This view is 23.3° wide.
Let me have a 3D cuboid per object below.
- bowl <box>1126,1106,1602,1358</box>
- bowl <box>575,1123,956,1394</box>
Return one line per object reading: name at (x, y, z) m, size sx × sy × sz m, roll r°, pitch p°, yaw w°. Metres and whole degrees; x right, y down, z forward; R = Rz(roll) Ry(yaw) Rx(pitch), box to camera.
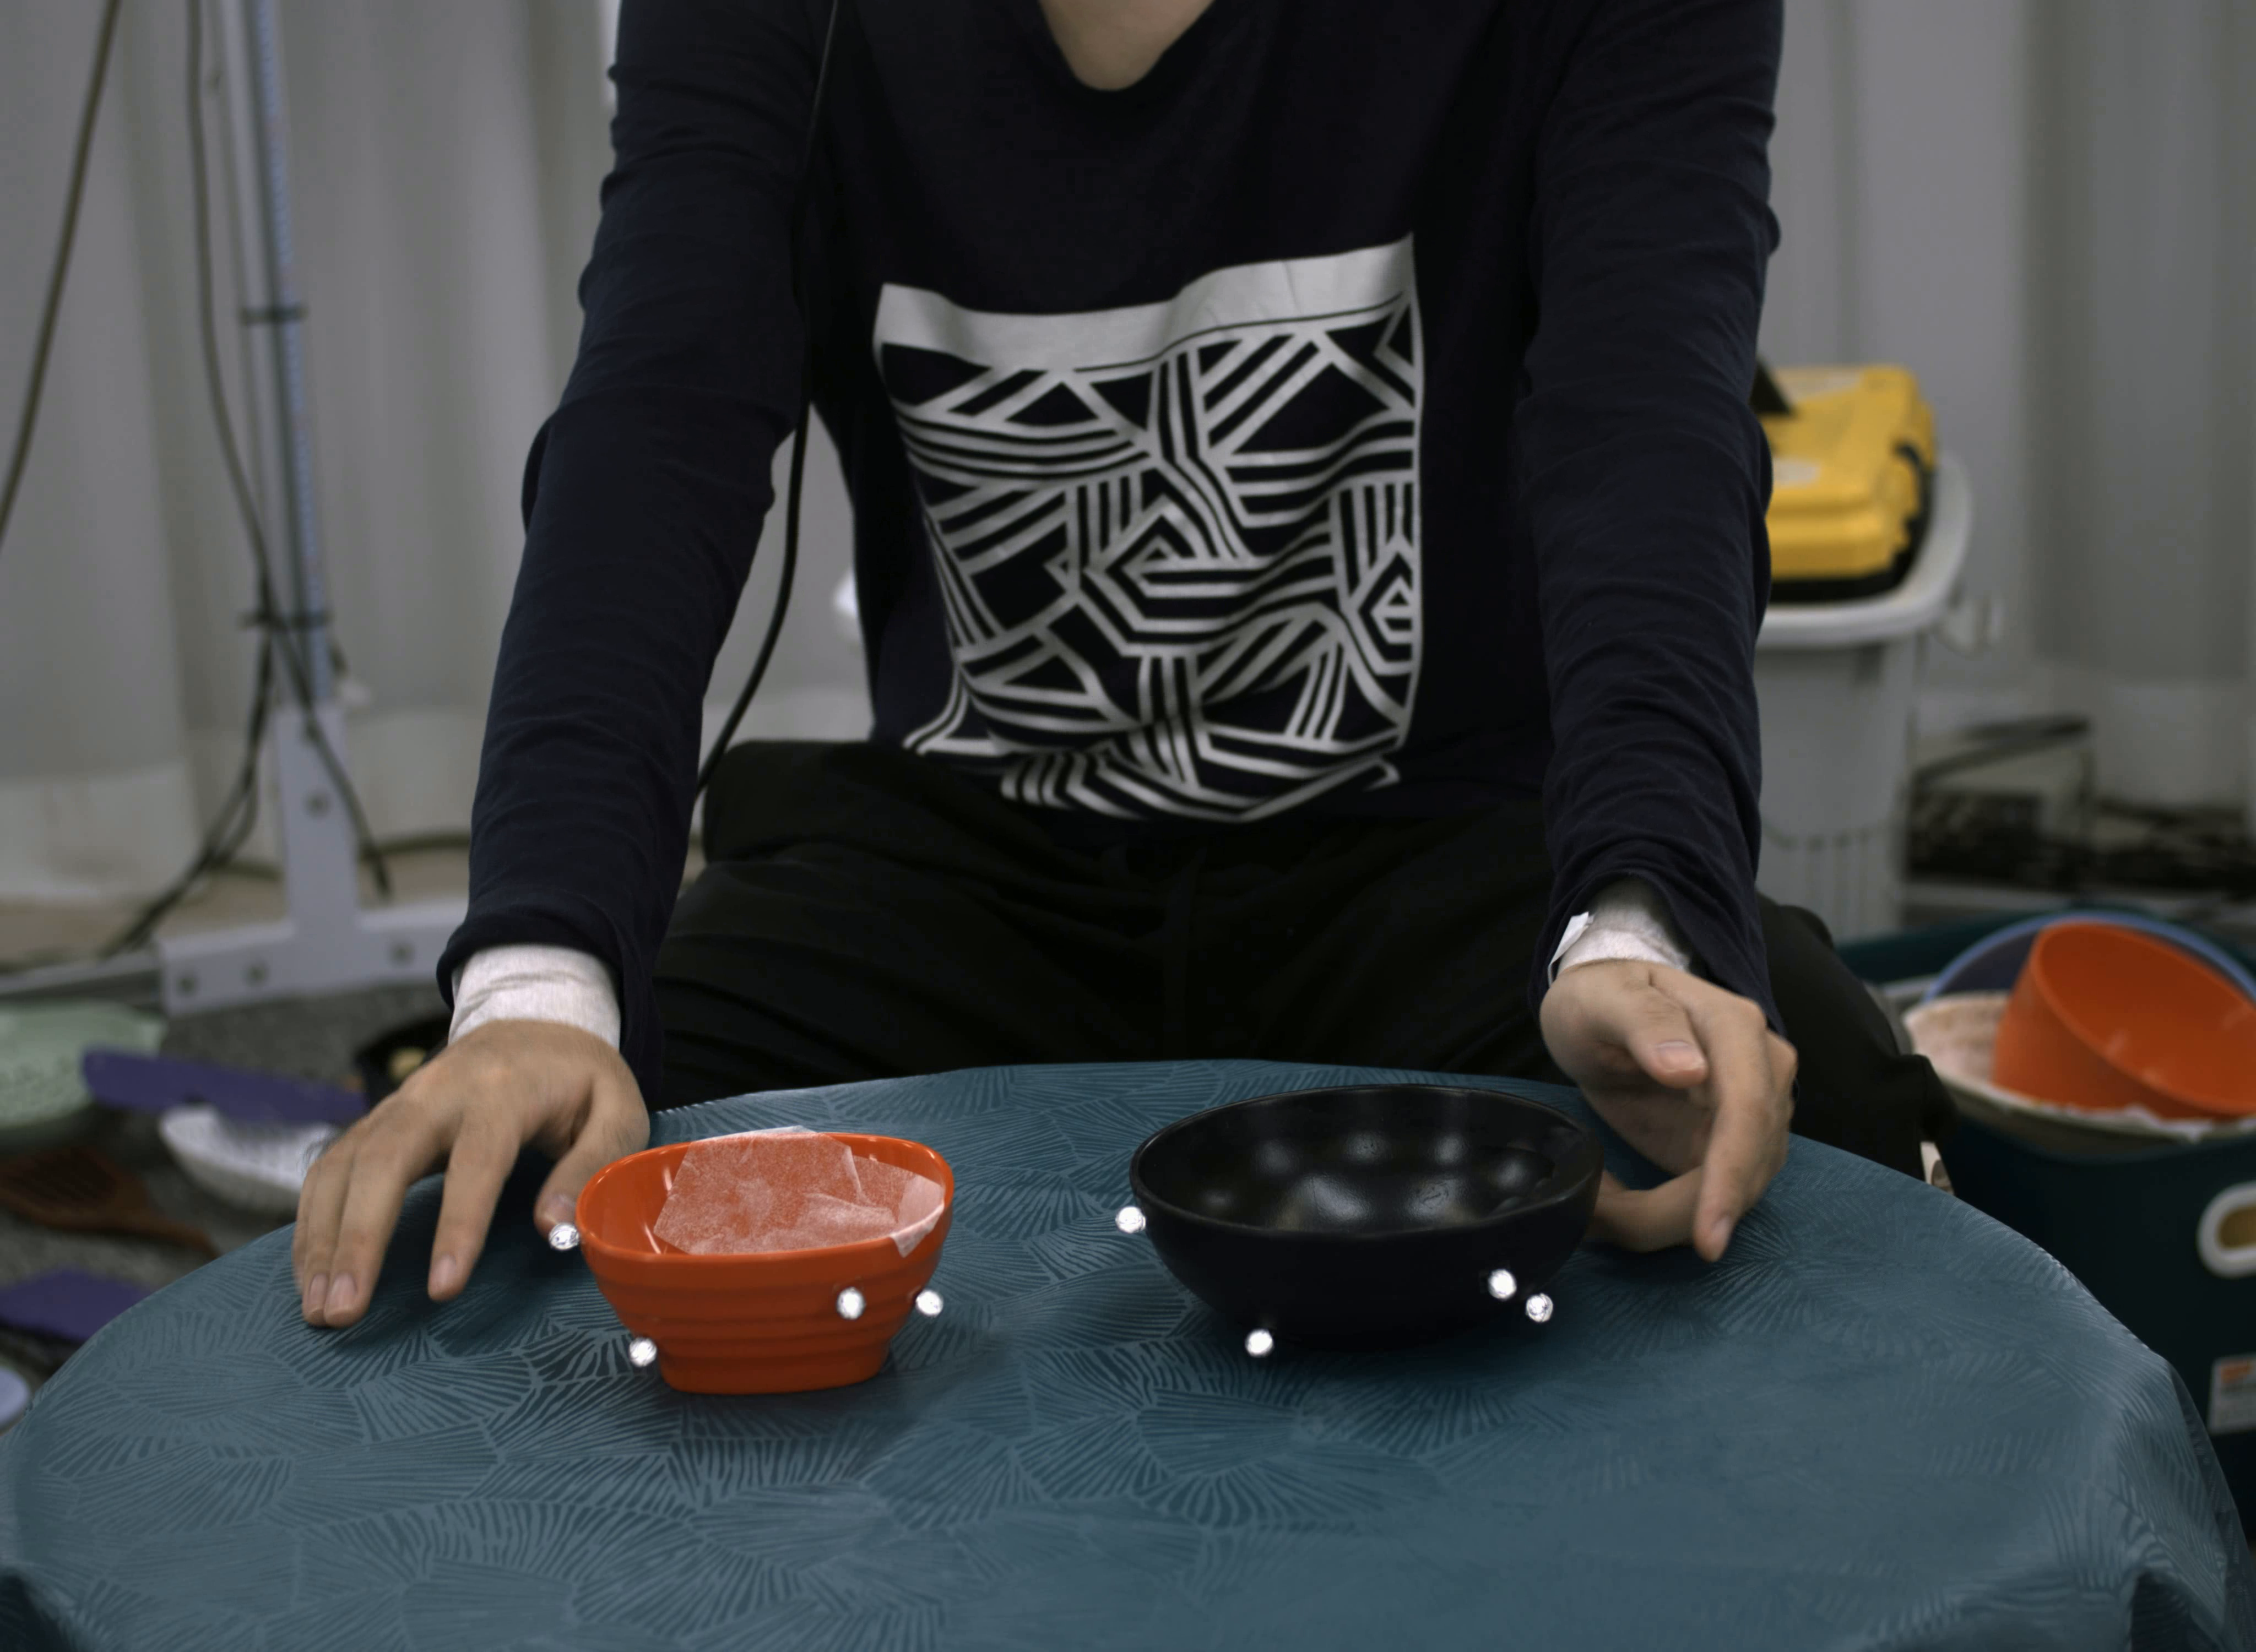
bowl at (0.070, 0.122, 1.593) m, size 0.139 × 0.049 × 0.140 m, roll -2°, pitch 11°, yaw 0°
bowl at (-0.103, 0.128, 1.584) m, size 0.118 × 0.051 × 0.120 m, roll -4°, pitch 16°, yaw 1°
